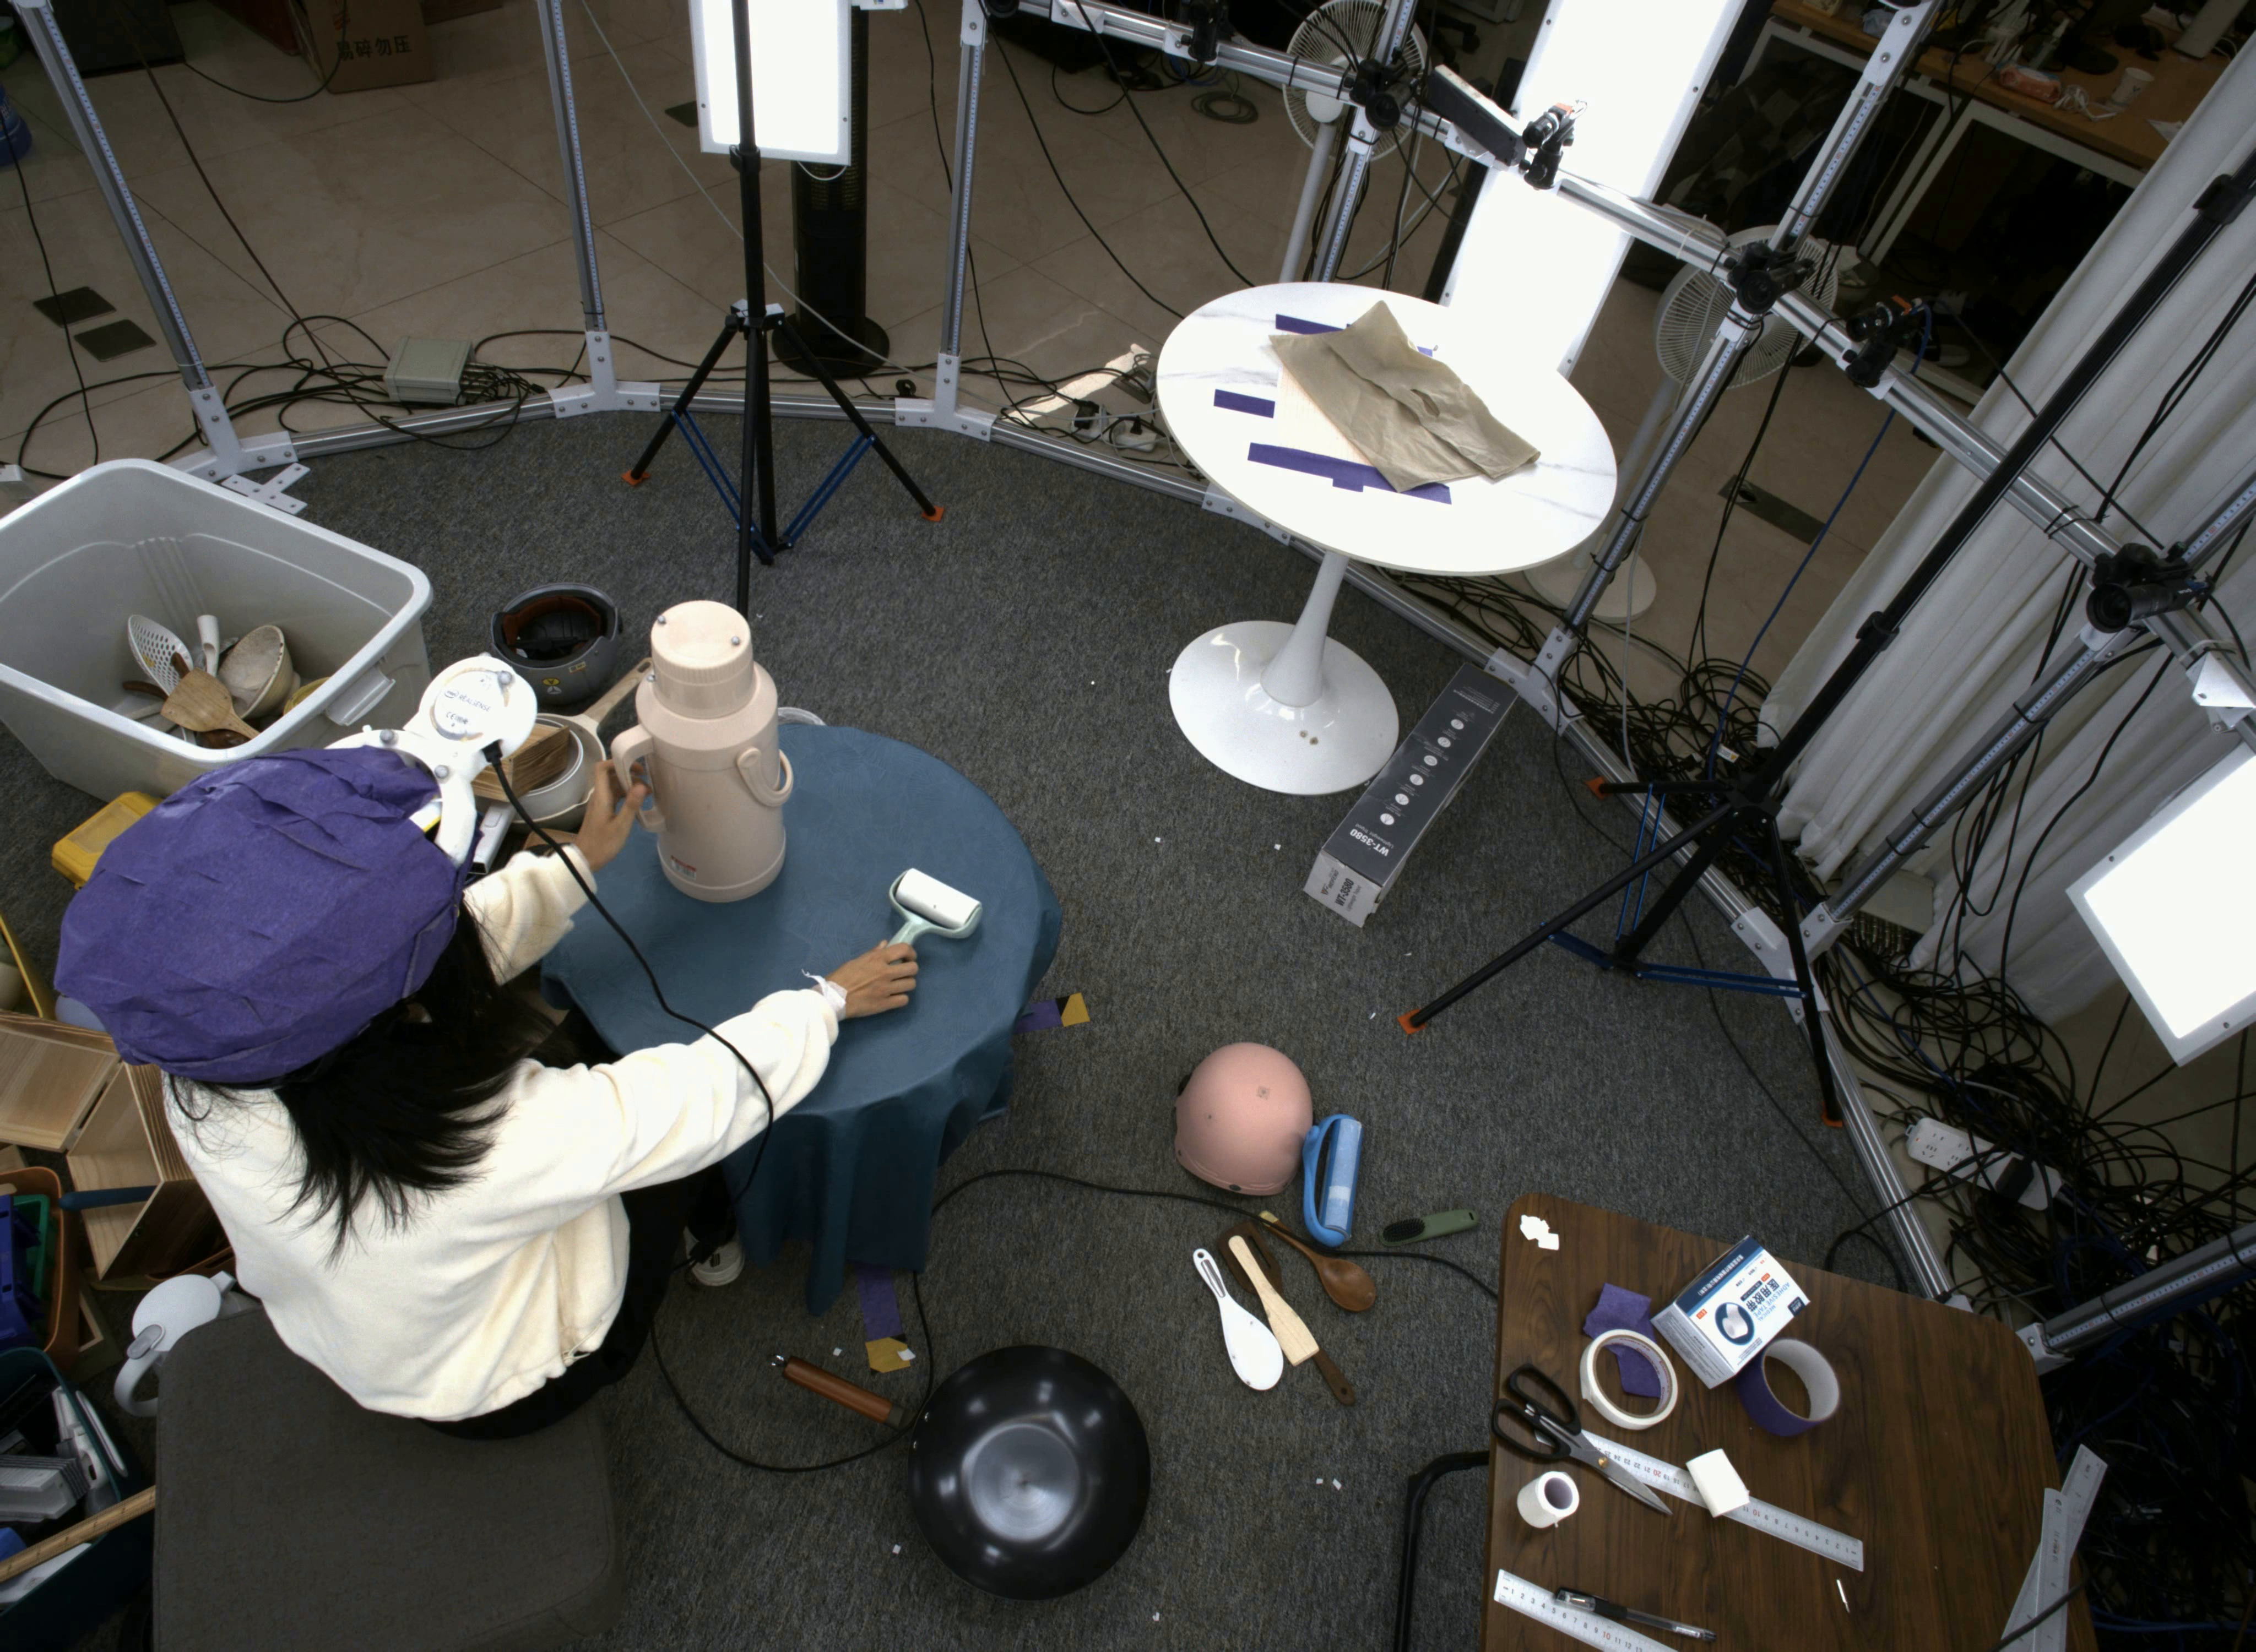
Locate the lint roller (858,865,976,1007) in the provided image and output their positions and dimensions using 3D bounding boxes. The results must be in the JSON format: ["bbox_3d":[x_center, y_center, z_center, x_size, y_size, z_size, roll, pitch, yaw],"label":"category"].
[{"bbox_3d":[-0.282,0.137,1.618,0.115,0.049,0.196,28,49,6],"label":"lint roller"}]

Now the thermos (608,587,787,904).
[{"bbox_3d":[-0.503,-0.085,1.505,0.207,0.415,0.171,-34,66,-31],"label":"thermos"}]
